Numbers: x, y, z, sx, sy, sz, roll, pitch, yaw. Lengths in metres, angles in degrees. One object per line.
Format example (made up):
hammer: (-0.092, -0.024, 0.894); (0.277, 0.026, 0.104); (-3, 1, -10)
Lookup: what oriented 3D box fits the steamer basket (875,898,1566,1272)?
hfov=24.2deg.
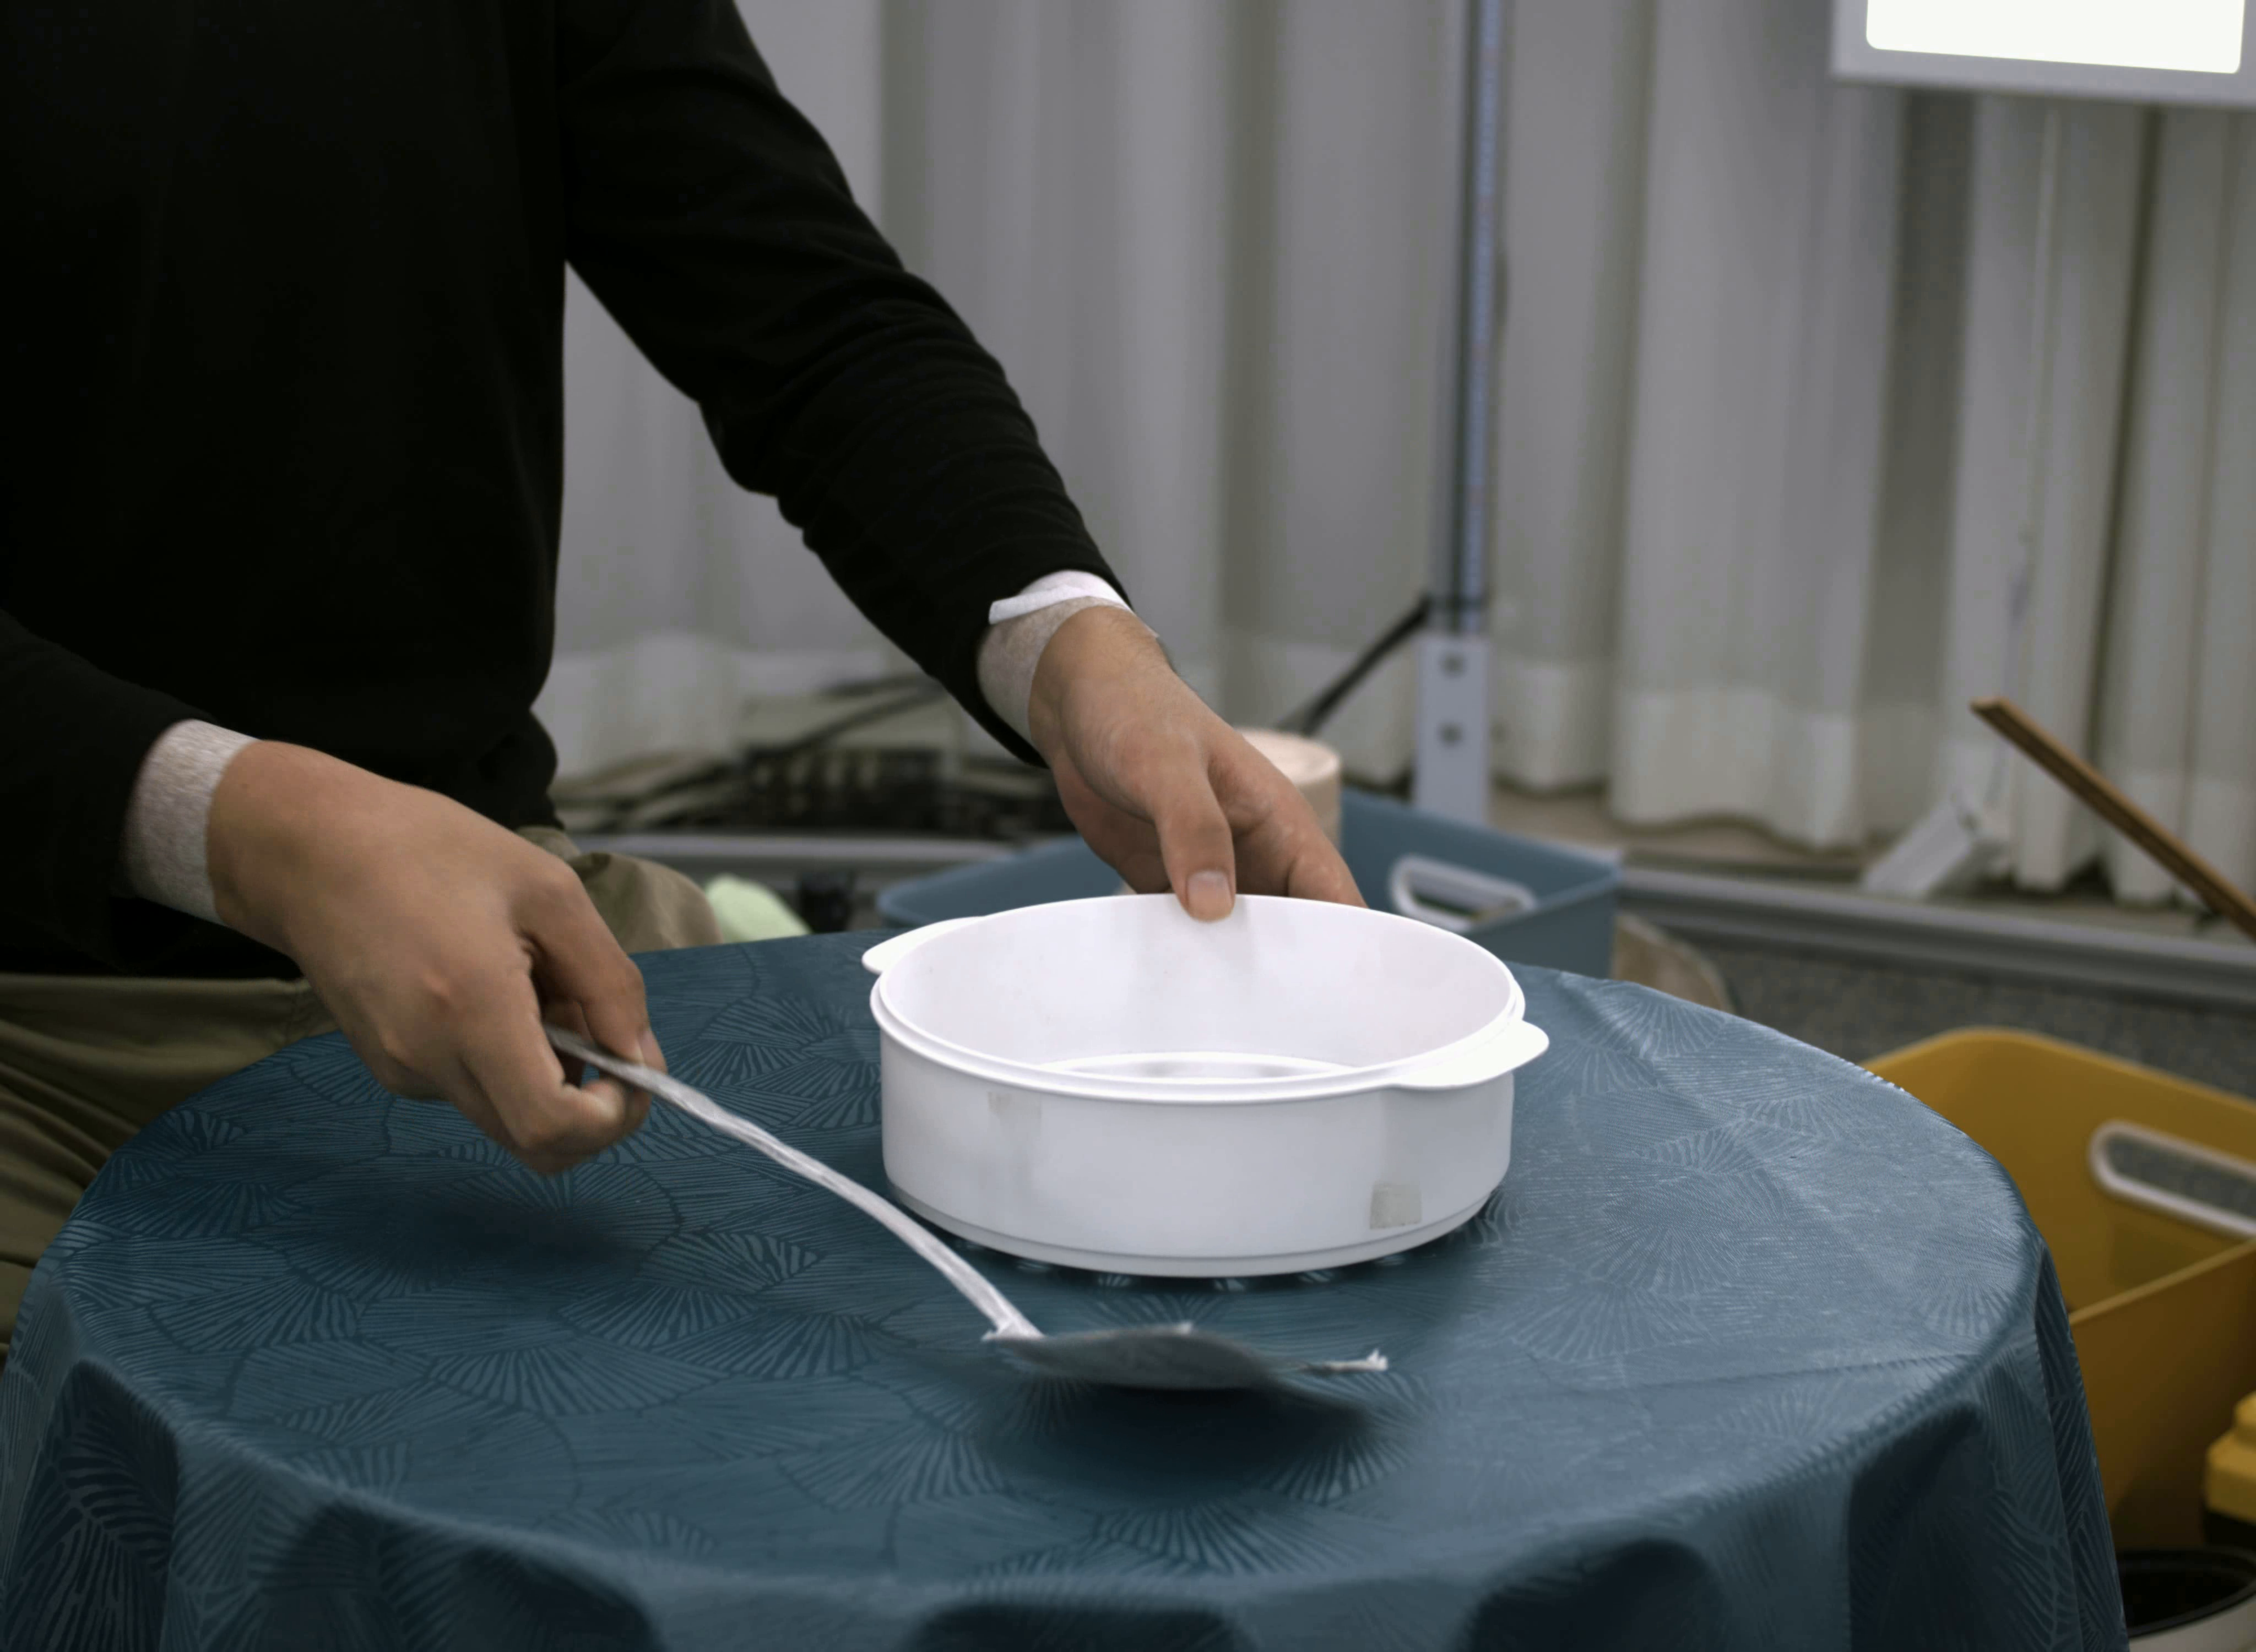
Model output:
steamer basket: (0.026, 0.079, 1.611); (0.227, 0.070, 0.203); (10, 18, 34)

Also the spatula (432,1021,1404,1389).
spatula: (-0.081, 0.100, 1.508); (0.360, 0.045, 0.100); (24, 6, 37)
